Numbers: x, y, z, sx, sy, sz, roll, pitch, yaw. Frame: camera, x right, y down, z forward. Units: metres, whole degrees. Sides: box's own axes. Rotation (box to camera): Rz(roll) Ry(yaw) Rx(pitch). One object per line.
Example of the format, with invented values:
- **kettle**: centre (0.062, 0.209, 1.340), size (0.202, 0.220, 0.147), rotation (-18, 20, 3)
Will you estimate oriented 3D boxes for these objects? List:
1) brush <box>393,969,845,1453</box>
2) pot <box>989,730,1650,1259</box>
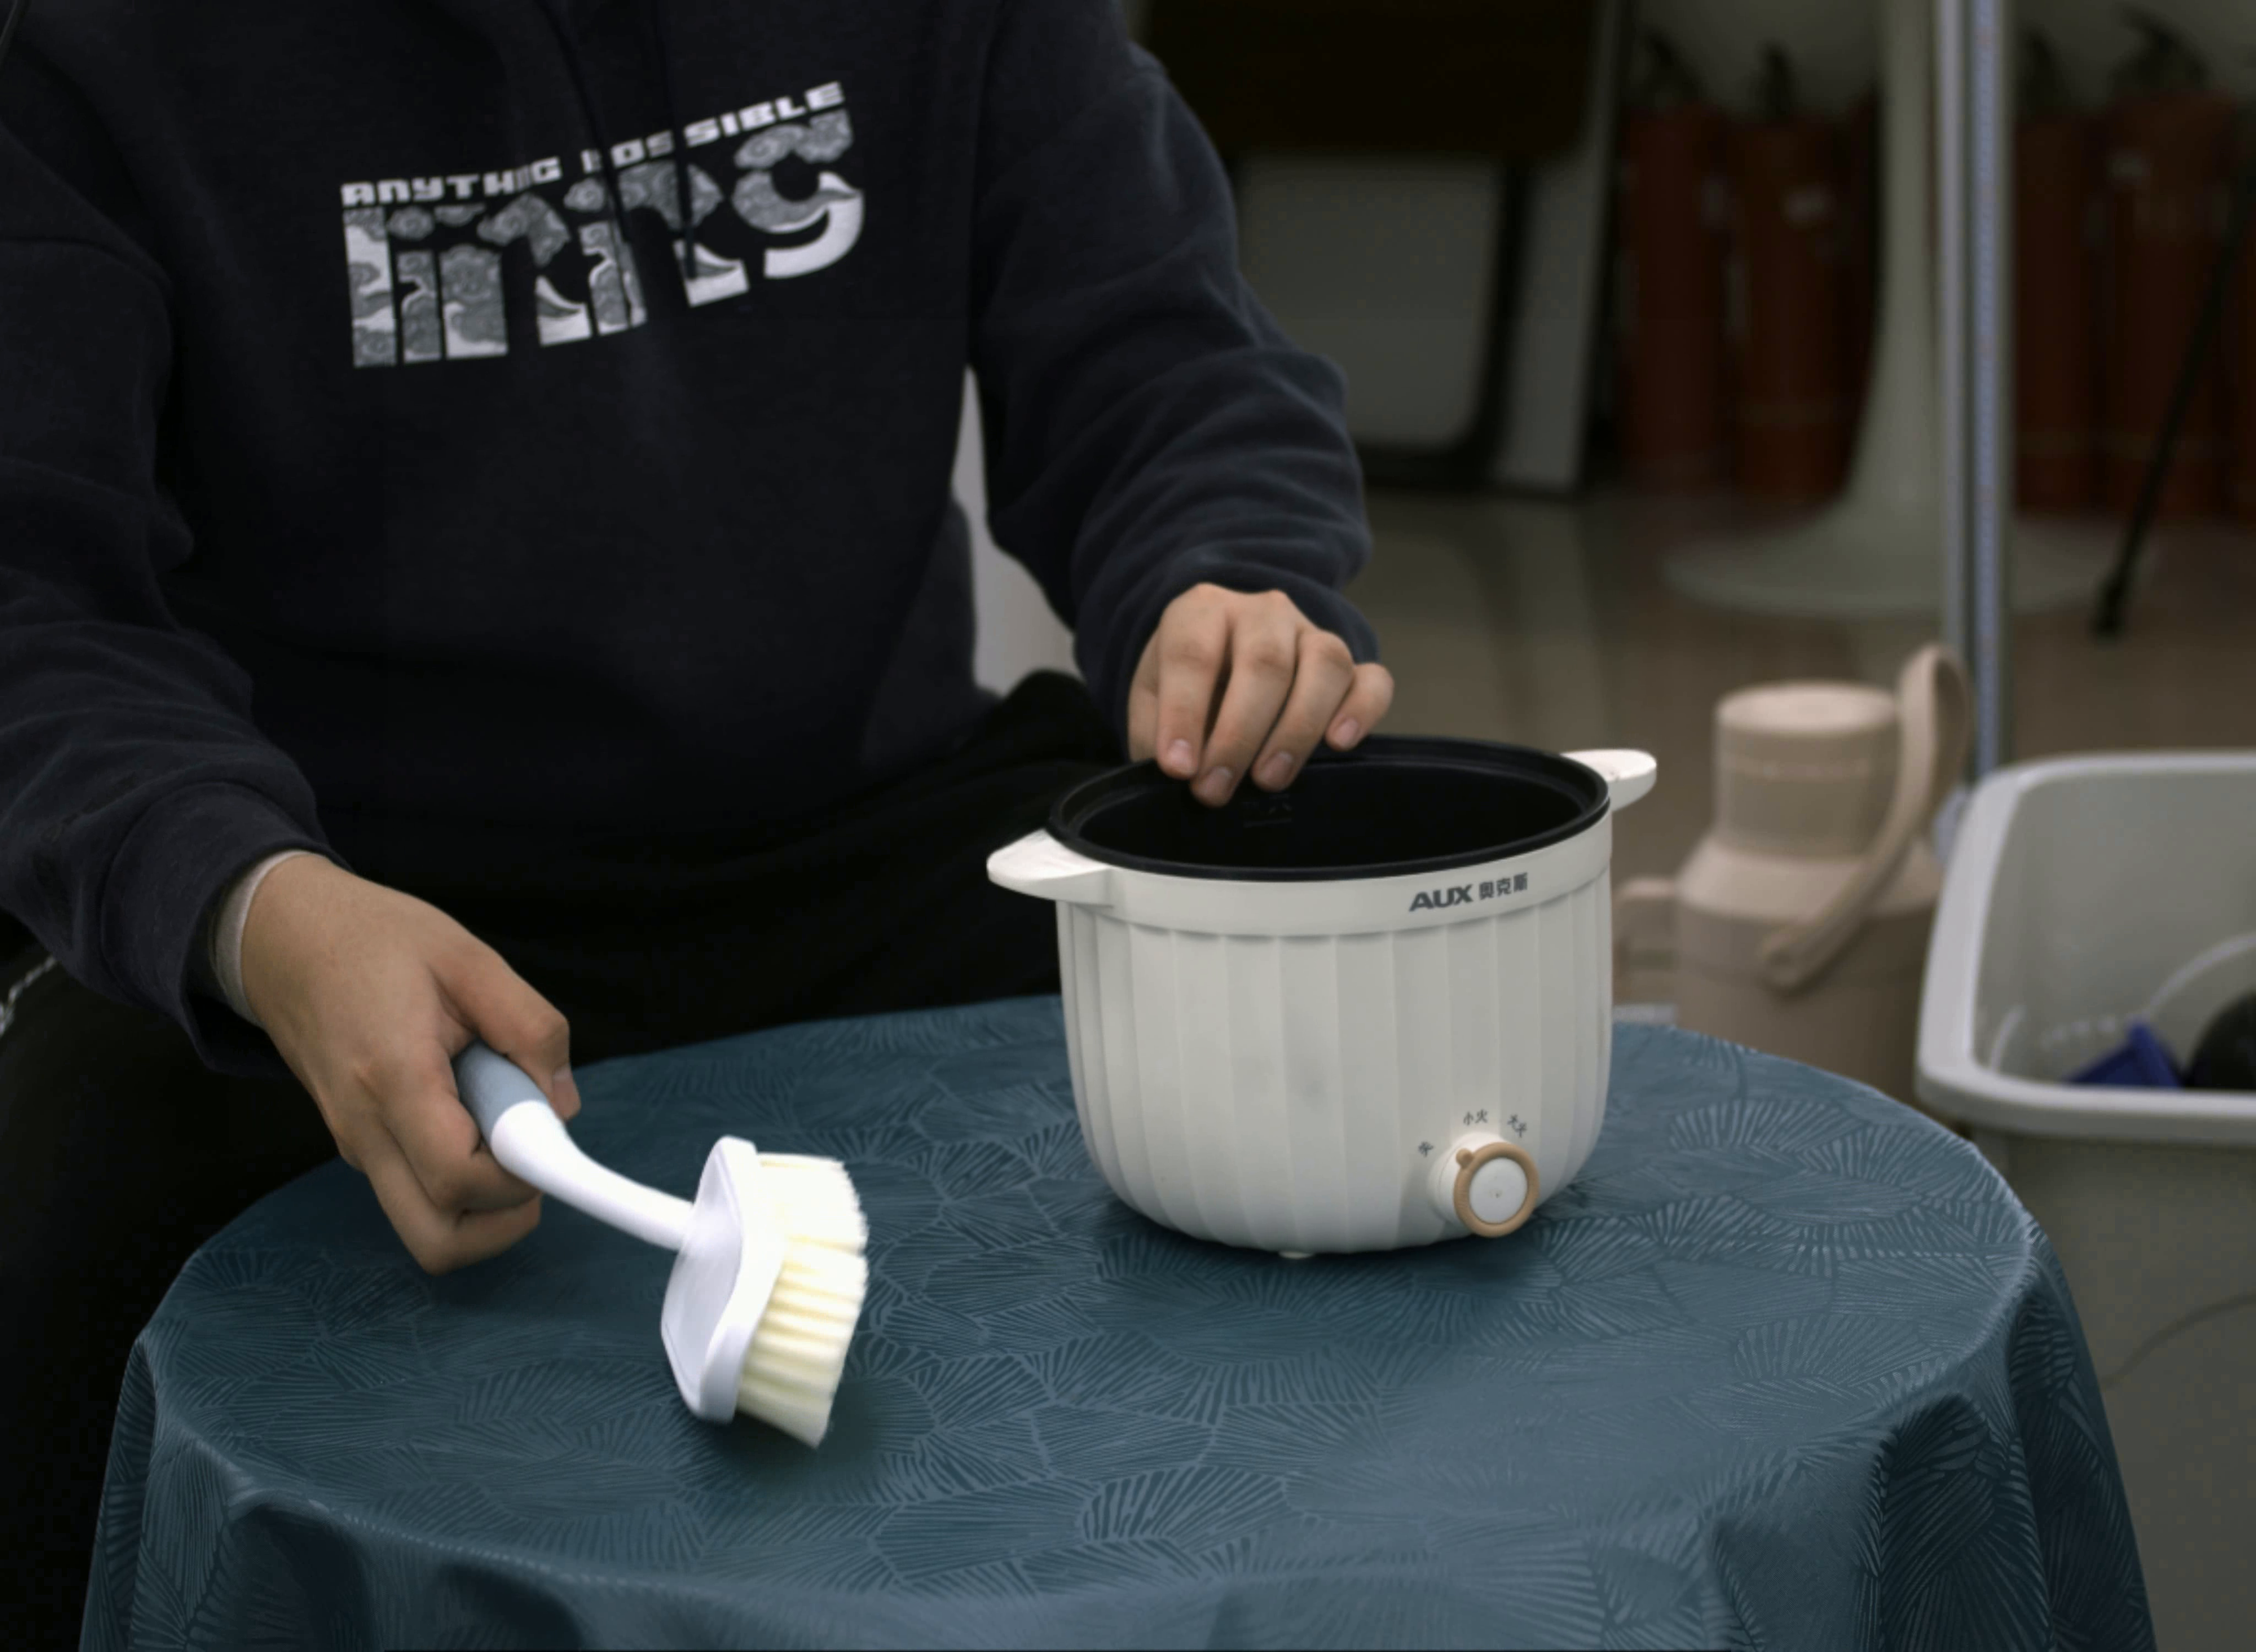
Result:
- **brush**: centre (-0.143, 0.107, 1.673), size (0.083, 0.084, 0.329), rotation (-42, 28, -4)
- **pot**: centre (0.071, 0.055, 1.730), size (0.235, 0.144, 0.192), rotation (-11, 12, -24)
